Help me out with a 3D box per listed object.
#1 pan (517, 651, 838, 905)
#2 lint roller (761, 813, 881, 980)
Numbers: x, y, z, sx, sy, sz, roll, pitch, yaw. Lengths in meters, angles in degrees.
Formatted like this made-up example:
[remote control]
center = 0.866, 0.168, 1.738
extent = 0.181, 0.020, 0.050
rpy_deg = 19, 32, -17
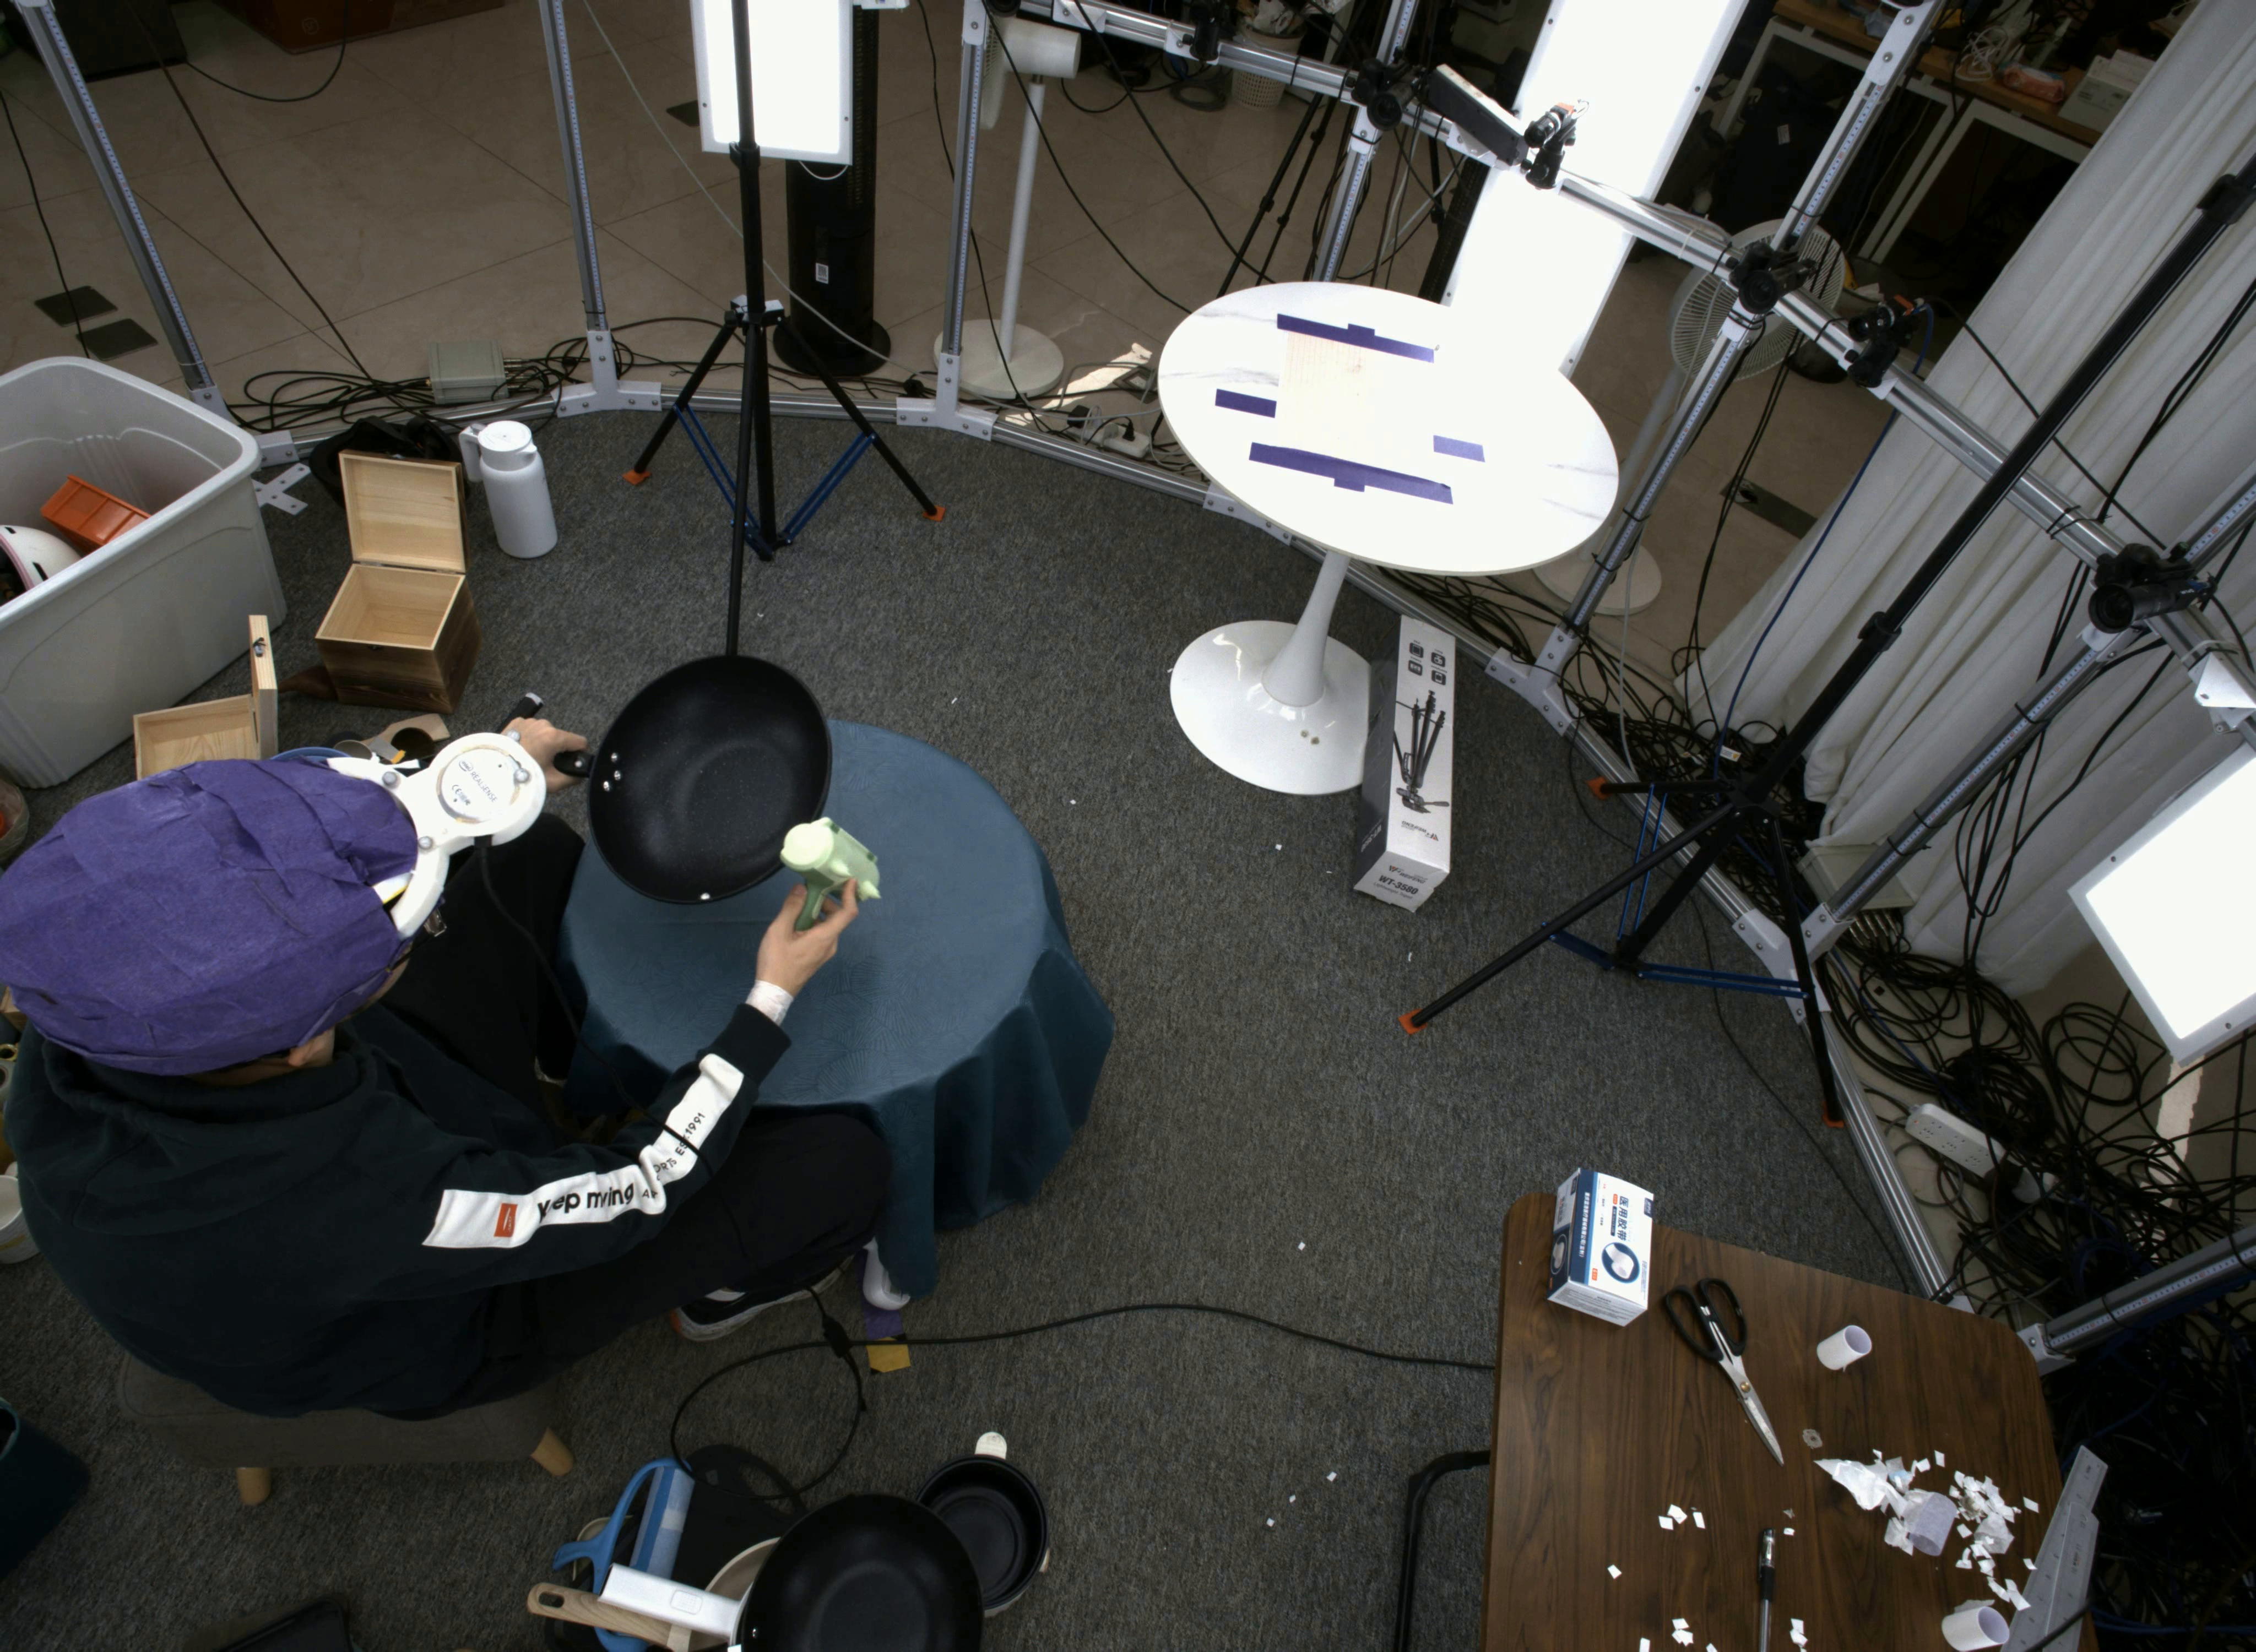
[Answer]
[pan]
center = -0.555, -0.058, 1.527
extent = 0.467, 0.114, 0.309
rpy_deg = 5, 73, 10
[lint roller]
center = -0.350, 0.095, 1.474
extent = 0.080, 0.202, 0.183
rpy_deg = 17, 77, 10
